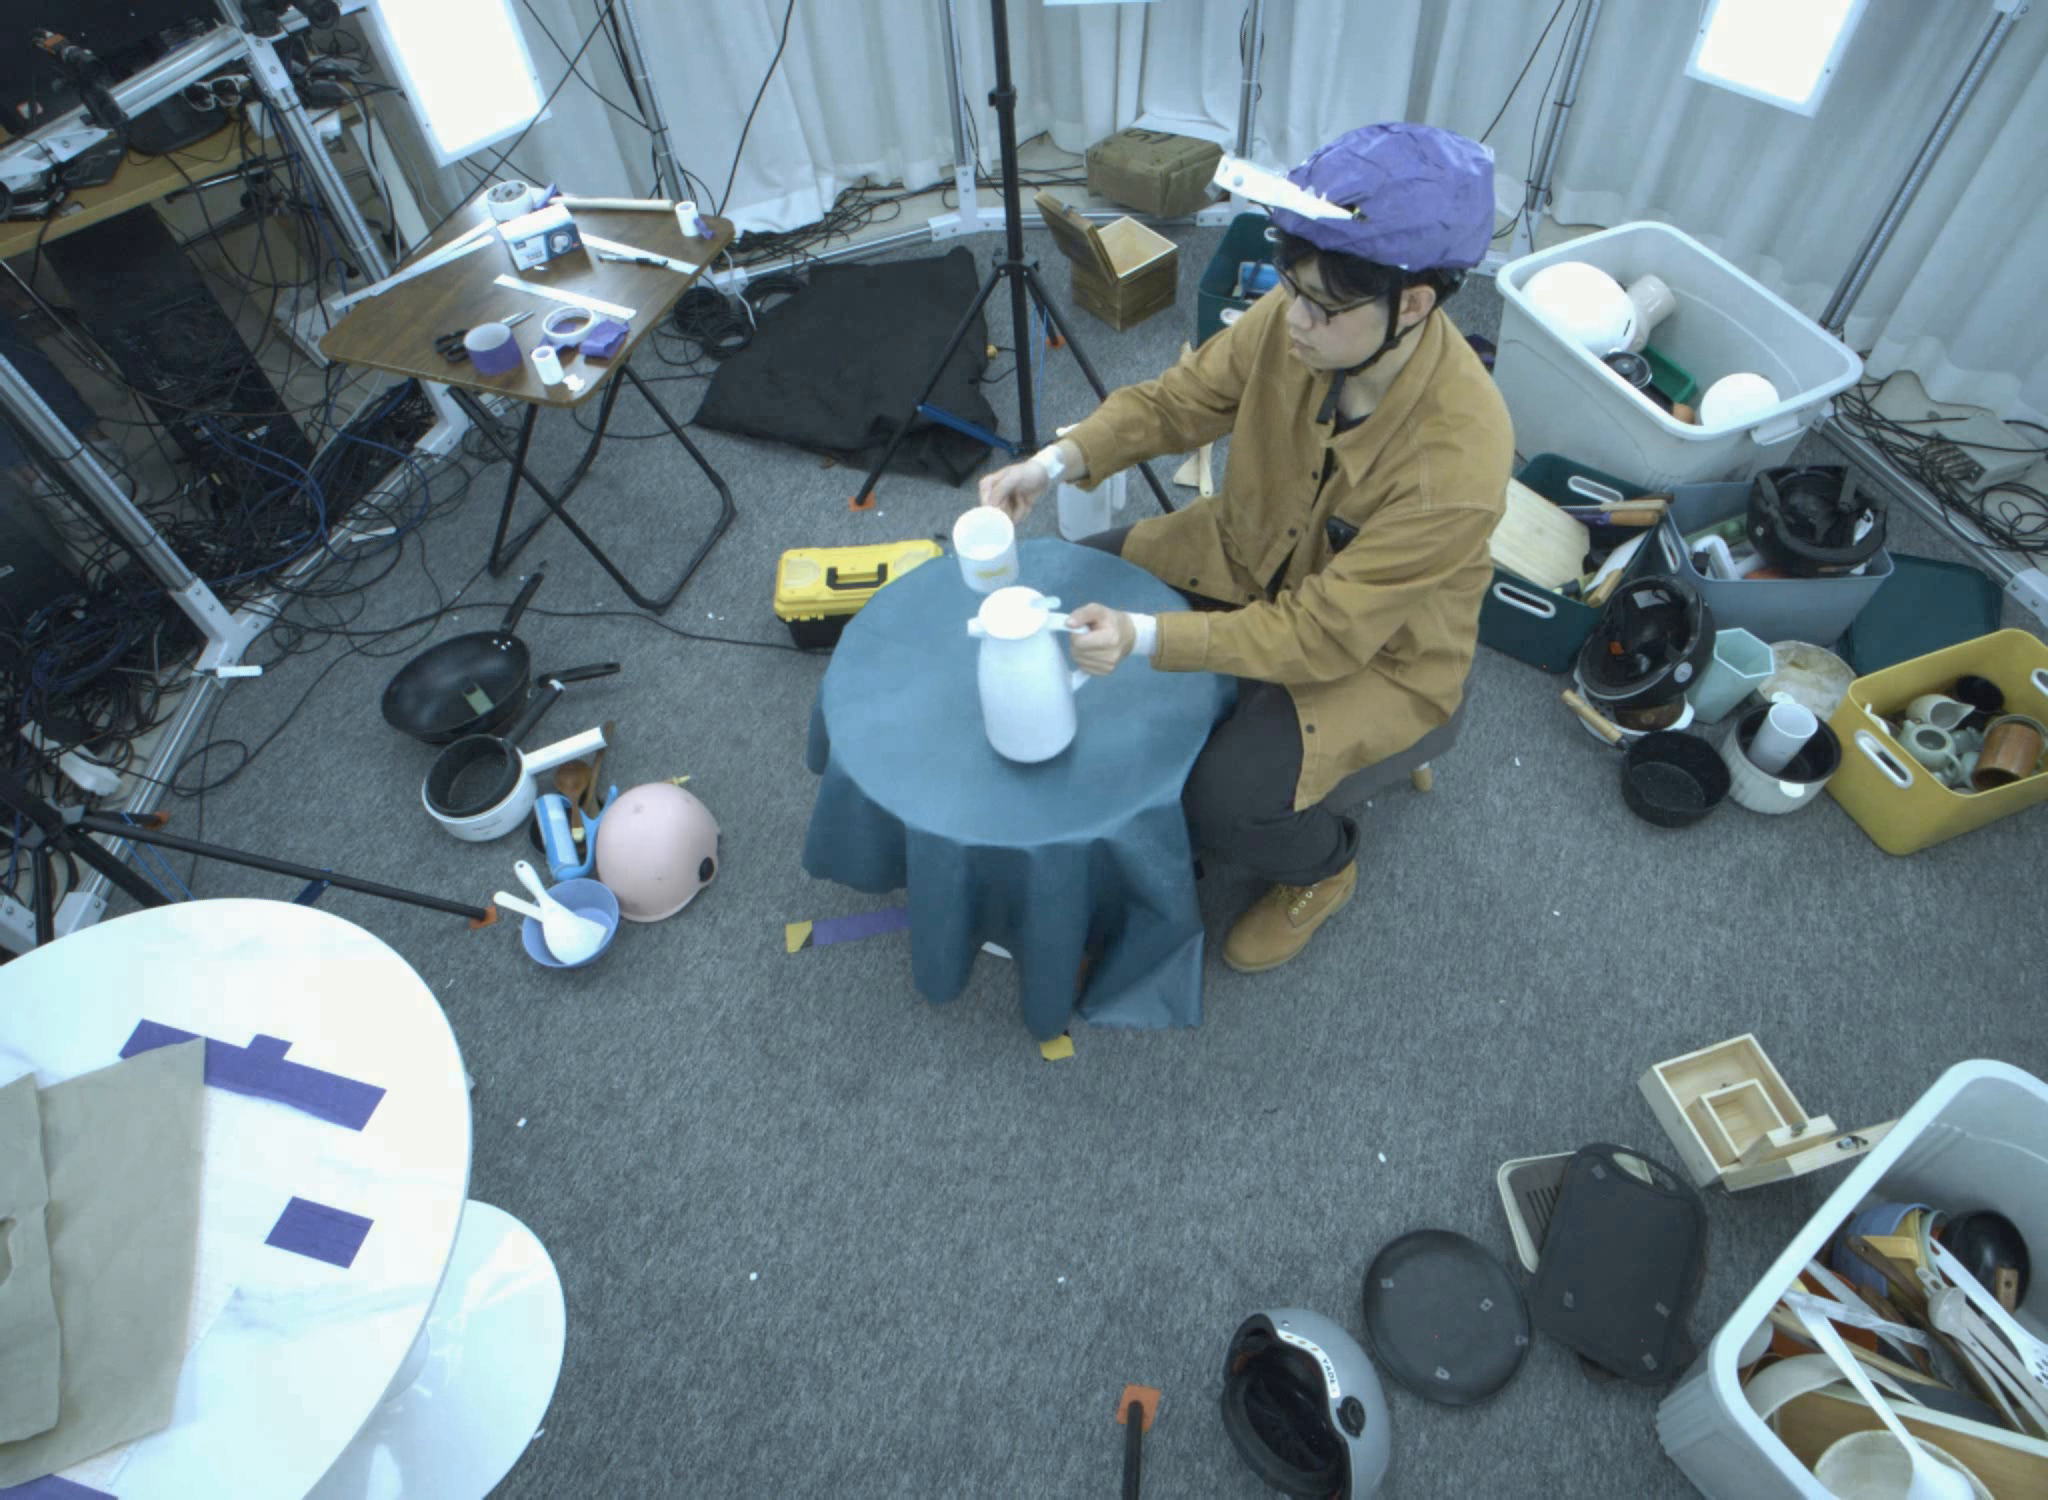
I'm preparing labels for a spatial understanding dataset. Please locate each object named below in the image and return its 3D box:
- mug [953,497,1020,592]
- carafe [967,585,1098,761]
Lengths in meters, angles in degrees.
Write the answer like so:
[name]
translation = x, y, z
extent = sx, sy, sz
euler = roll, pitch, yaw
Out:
[mug]
translation = -0.049, -0.299, 1.748
extent = 0.084, 0.103, 0.118
euler = 9, 68, 9
[carafe]
translation = 0.017, -0.113, 1.671
extent = 0.168, 0.252, 0.130
euler = -9, 53, -1
